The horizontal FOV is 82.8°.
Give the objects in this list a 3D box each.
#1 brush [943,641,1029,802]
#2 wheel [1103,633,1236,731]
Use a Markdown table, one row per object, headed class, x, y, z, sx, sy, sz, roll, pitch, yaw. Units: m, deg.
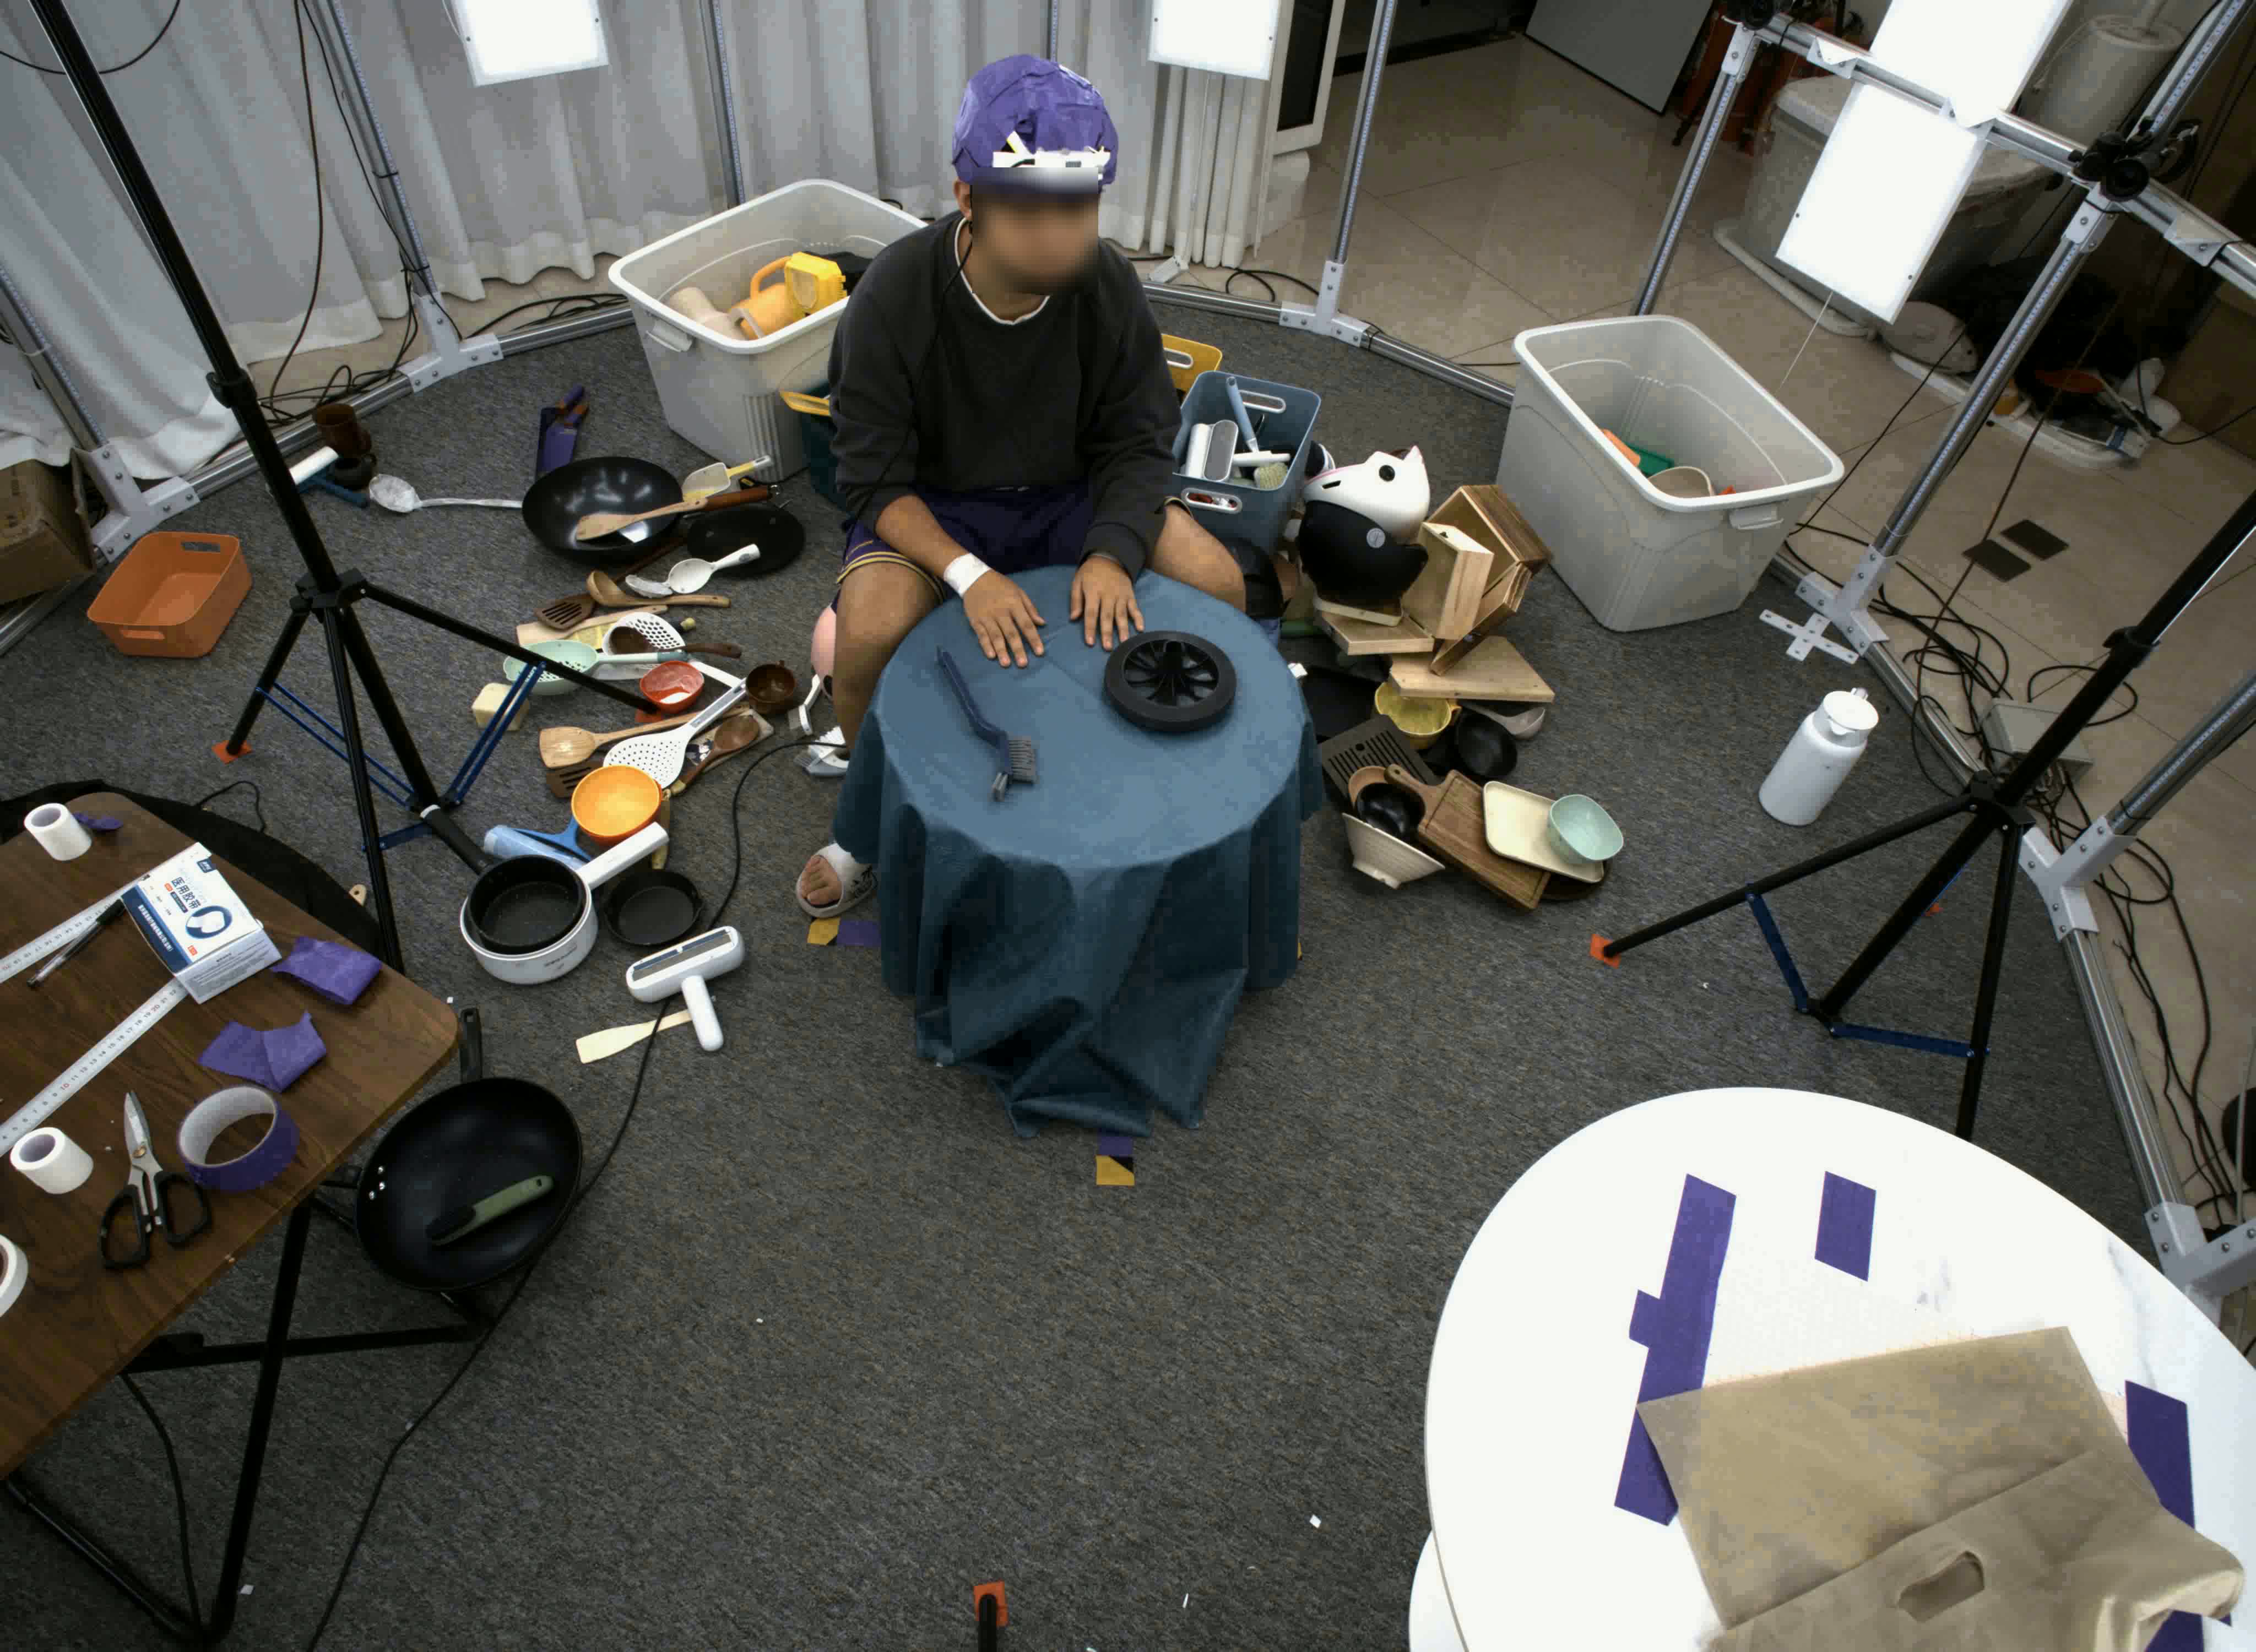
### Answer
| class | x | y | z | sx | sy | sz | roll | pitch | yaw |
| --- | --- | --- | --- | --- | --- | --- | --- | --- | --- |
| brush | -0.215 | -0.149 | 1.760 | 0.096 | 0.033 | 0.279 | -24 | 56 | -22 |
| wheel | 0.060 | -0.222 | 1.814 | 0.191 | 0.077 | 0.191 | 18 | 51 | 13 |
